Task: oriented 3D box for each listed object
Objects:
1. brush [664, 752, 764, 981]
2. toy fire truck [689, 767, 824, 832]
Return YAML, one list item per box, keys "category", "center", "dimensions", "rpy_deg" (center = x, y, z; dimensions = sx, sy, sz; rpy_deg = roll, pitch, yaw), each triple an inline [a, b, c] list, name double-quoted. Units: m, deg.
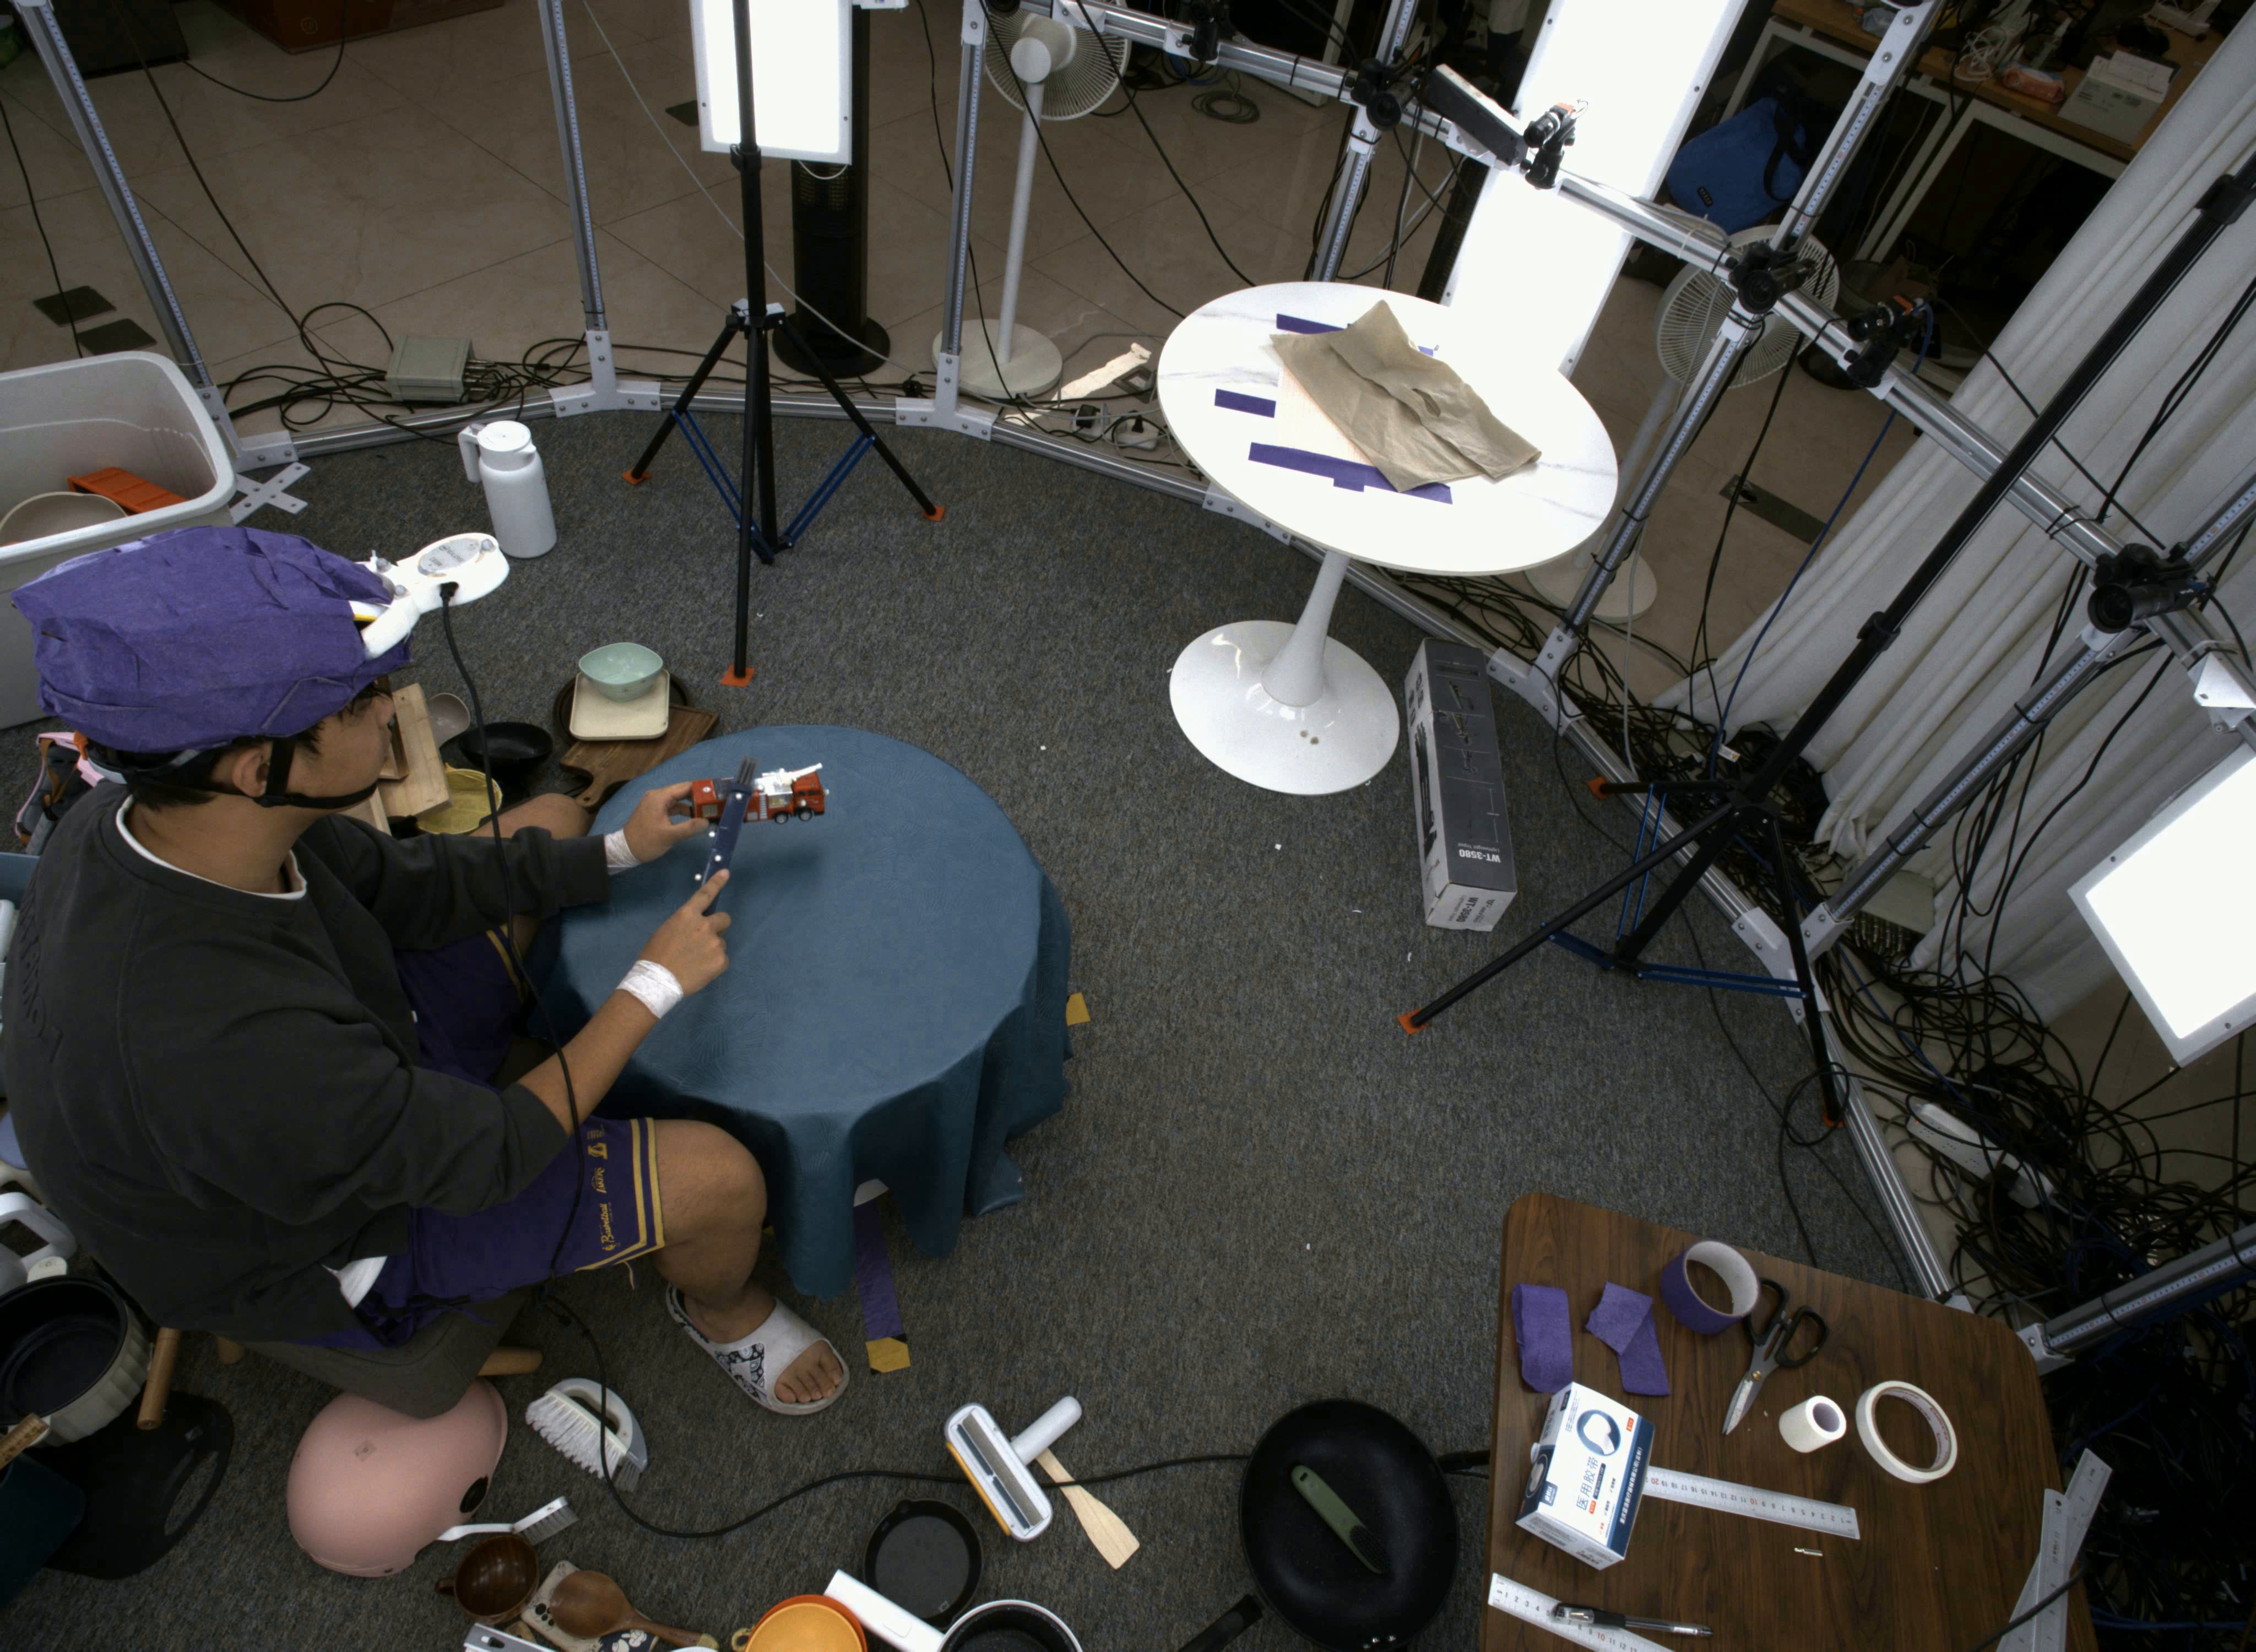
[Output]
- category: "brush"
  center: [-0.476, 0.042, 1.487]
  dimensions: [0.034, 0.096, 0.269]
  rpy_deg: [21, 50, -20]
- category: "toy fire truck"
  center: [-0.464, -0.035, 1.619]
  dimensions: [0.169, 0.072, 0.052]
  rpy_deg: [-9, 43, -23]
